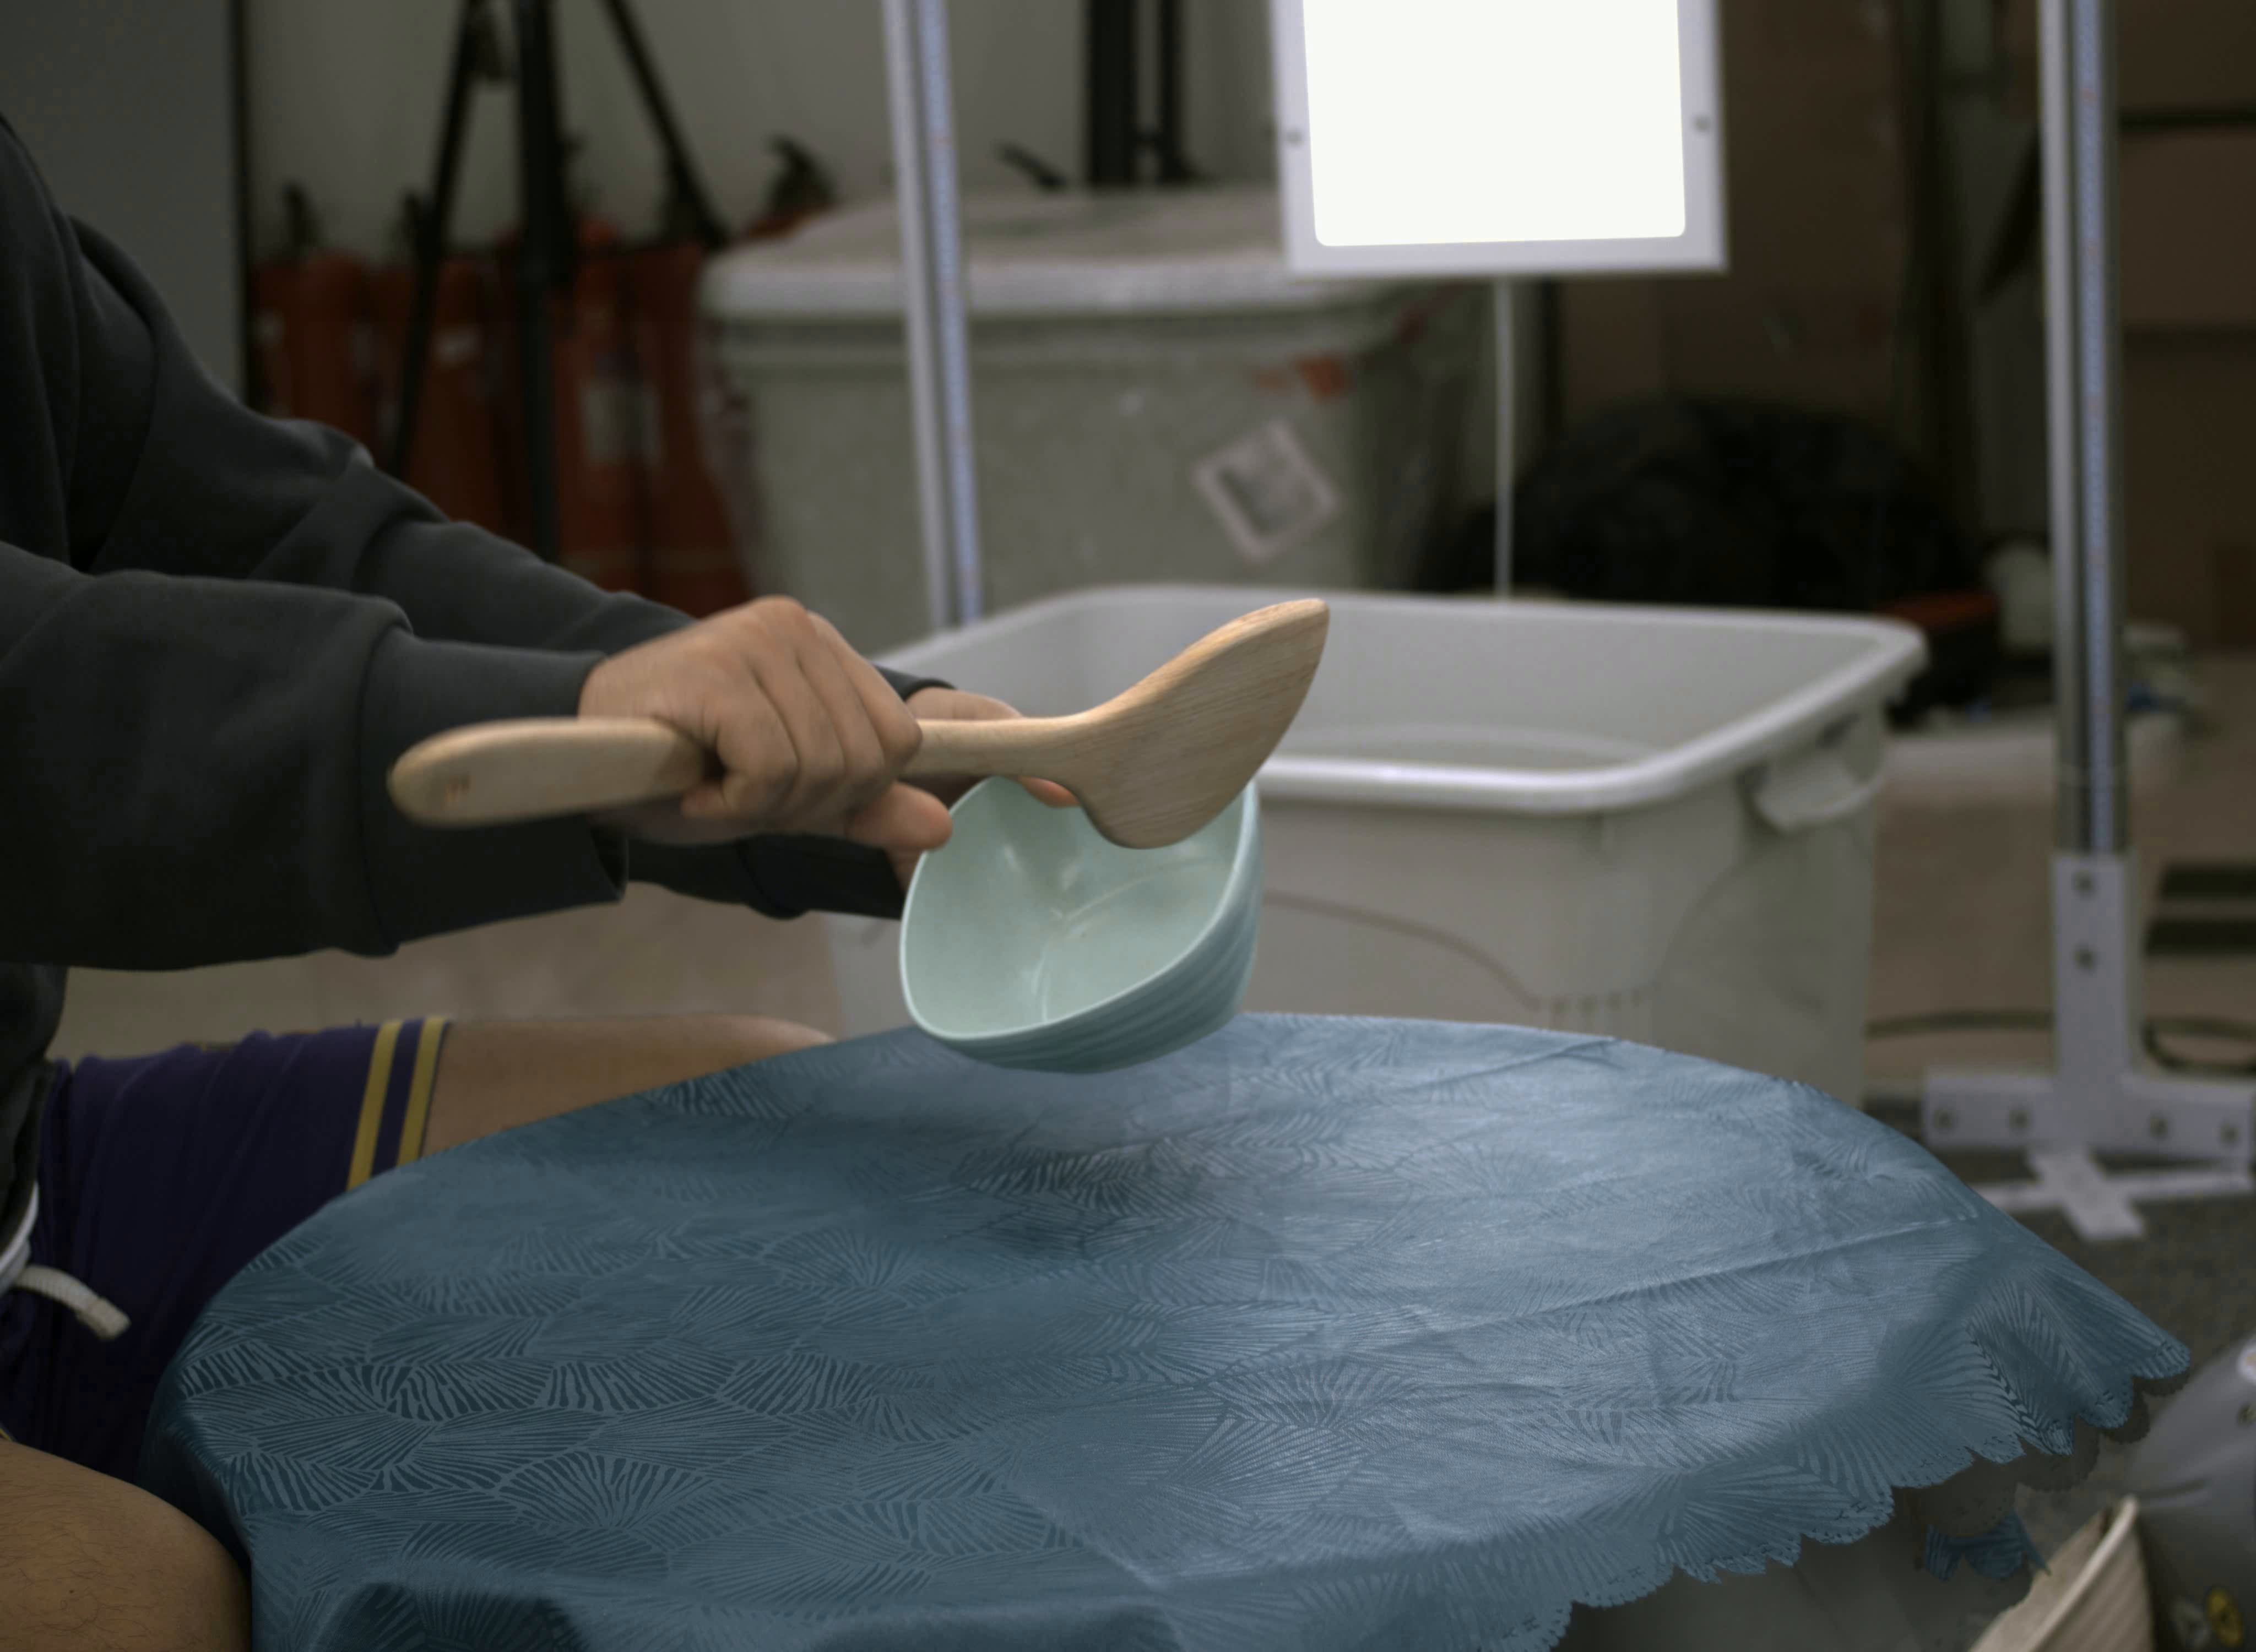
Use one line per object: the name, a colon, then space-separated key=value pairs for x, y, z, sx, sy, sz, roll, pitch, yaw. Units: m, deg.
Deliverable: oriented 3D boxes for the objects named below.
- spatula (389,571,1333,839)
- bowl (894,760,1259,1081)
spatula: x=-0.069 y=-0.027 z=1.635 sx=0.380 sy=0.097 sz=0.019 roll=-5 pitch=38 yaw=-46
bowl: x=-0.007 y=0.035 z=1.905 sx=0.153 sy=0.058 sz=0.151 roll=-24 pitch=40 yaw=20
